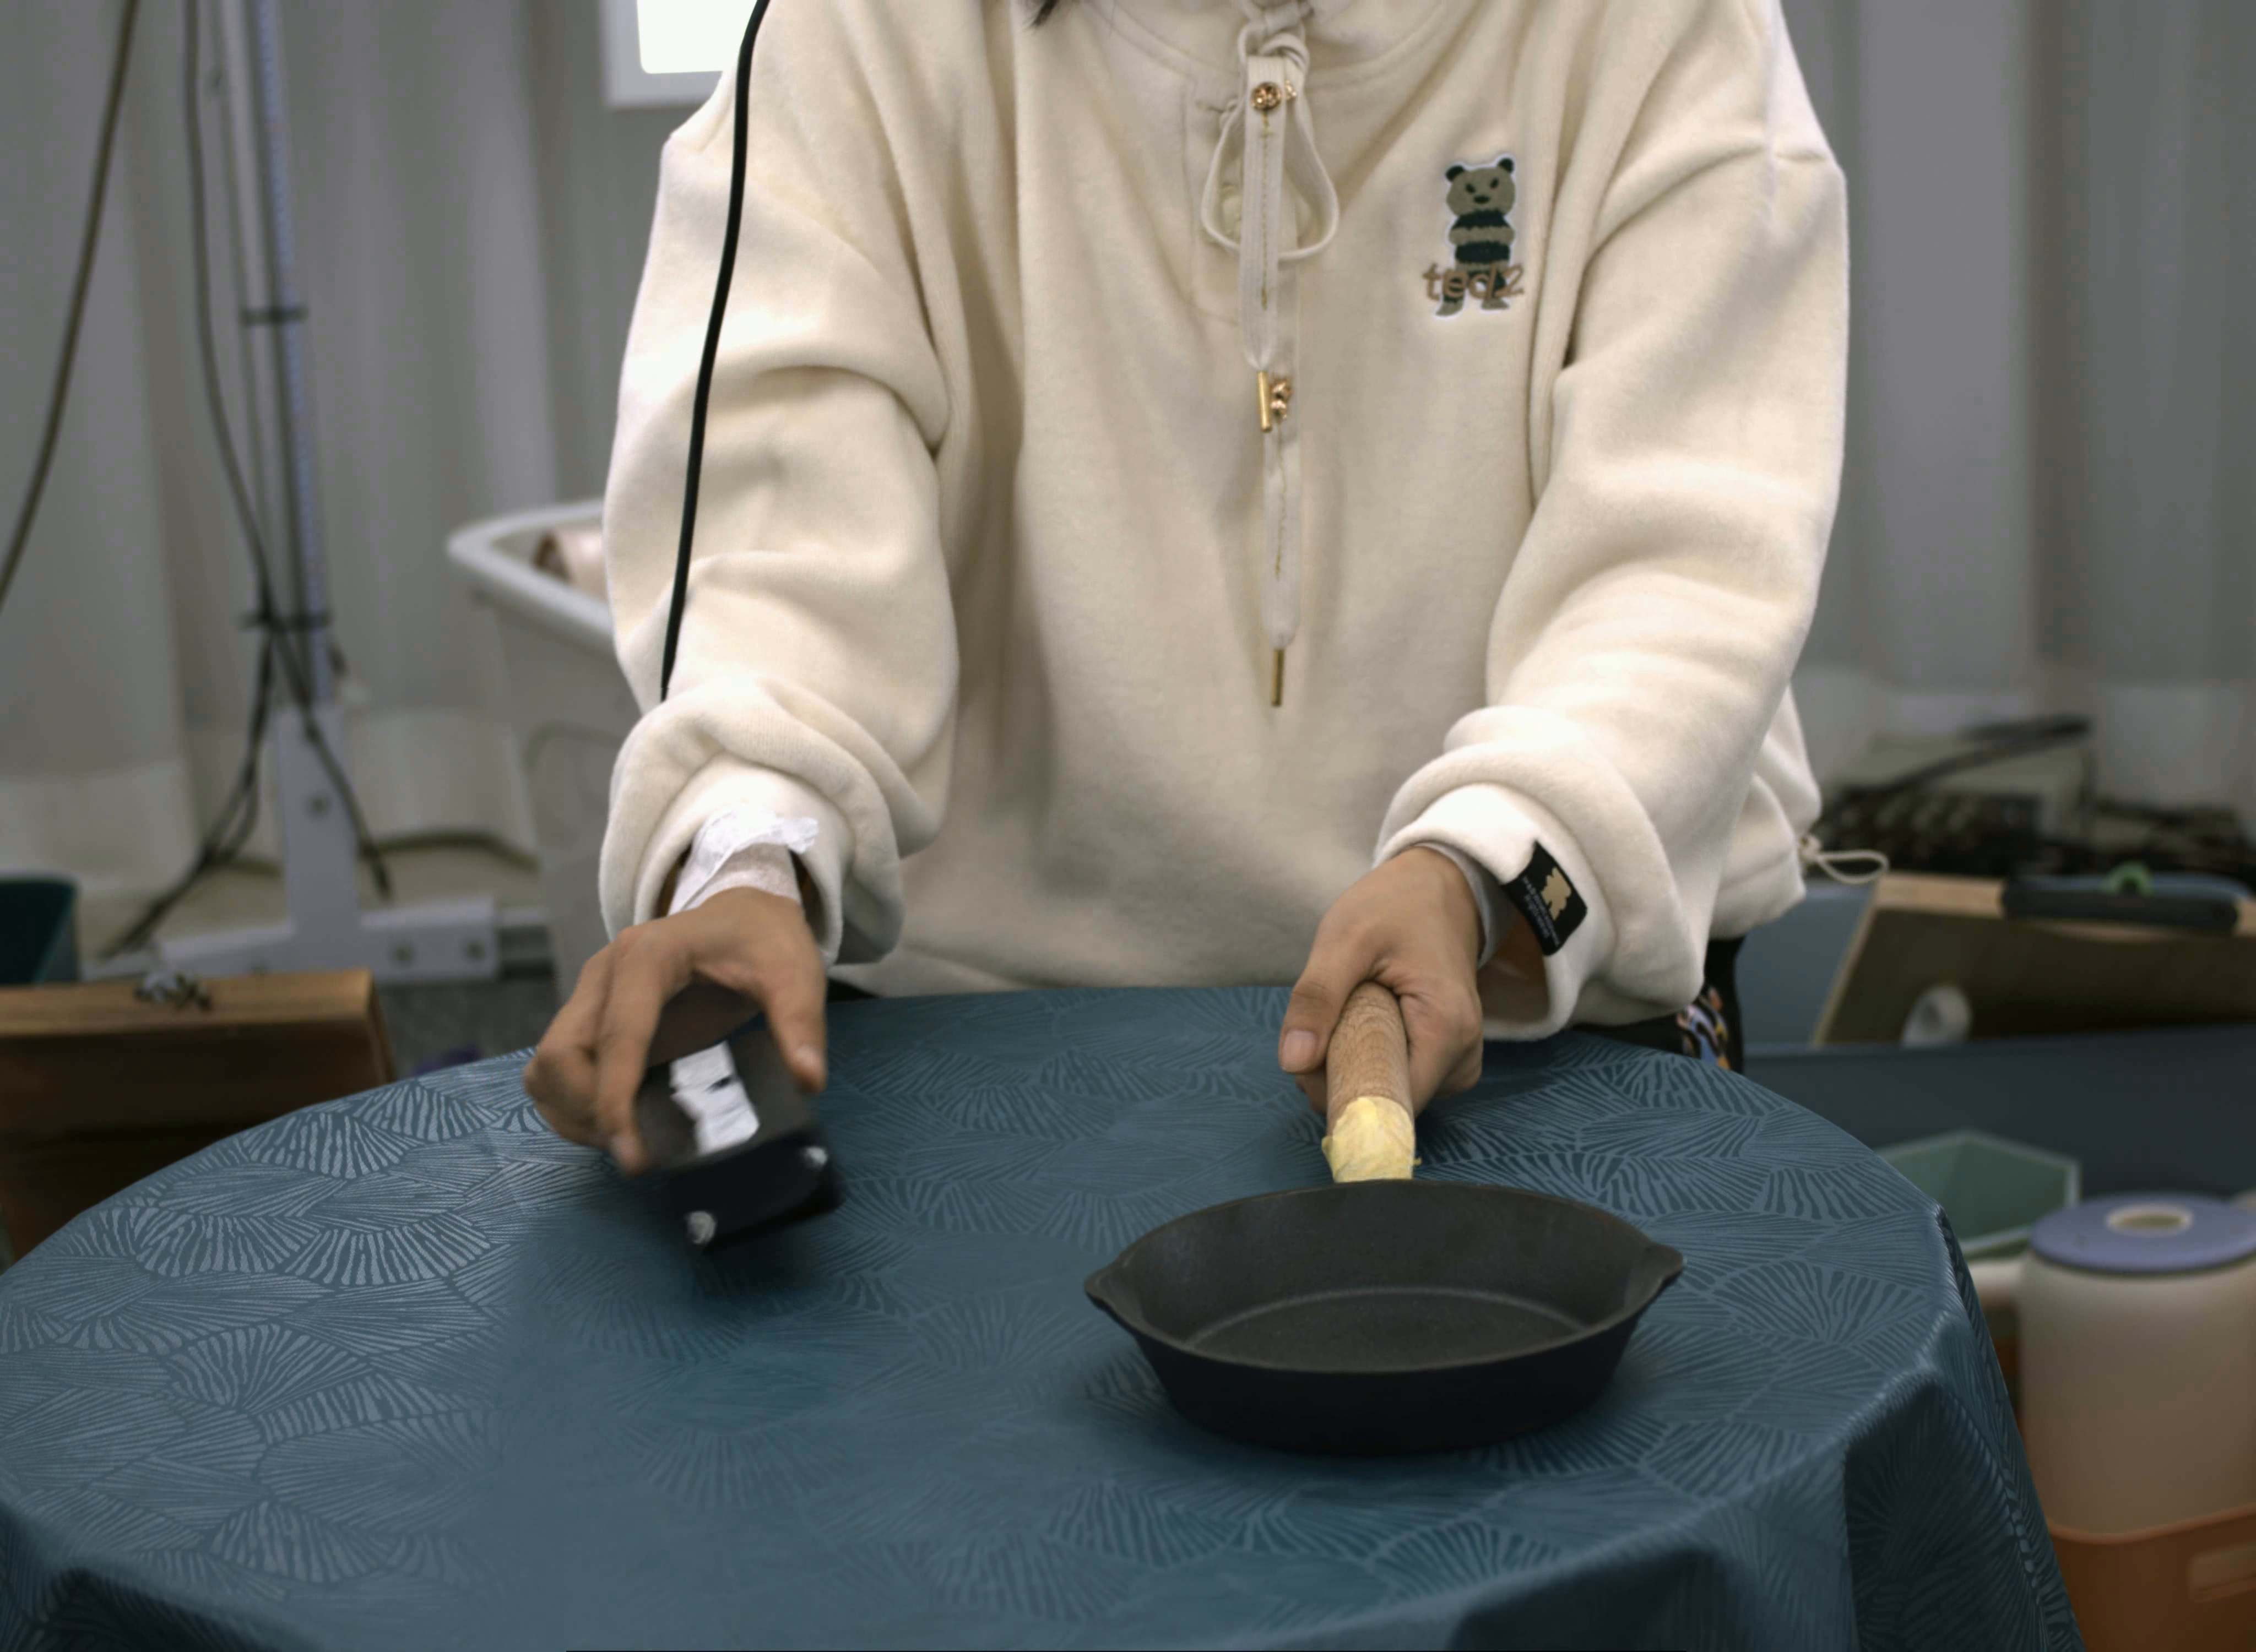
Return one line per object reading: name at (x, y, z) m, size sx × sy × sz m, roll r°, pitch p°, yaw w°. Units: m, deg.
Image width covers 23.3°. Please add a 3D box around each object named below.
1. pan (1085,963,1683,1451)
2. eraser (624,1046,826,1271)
pan at (0.076, 0.109, 1.619) m, size 0.168 × 0.049 × 0.326 m, roll -3°, pitch 16°, yaw 4°
eraser at (-0.124, 0.101, 1.682) m, size 0.053 × 0.030 × 0.126 m, roll -18°, pitch 14°, yaw -4°
